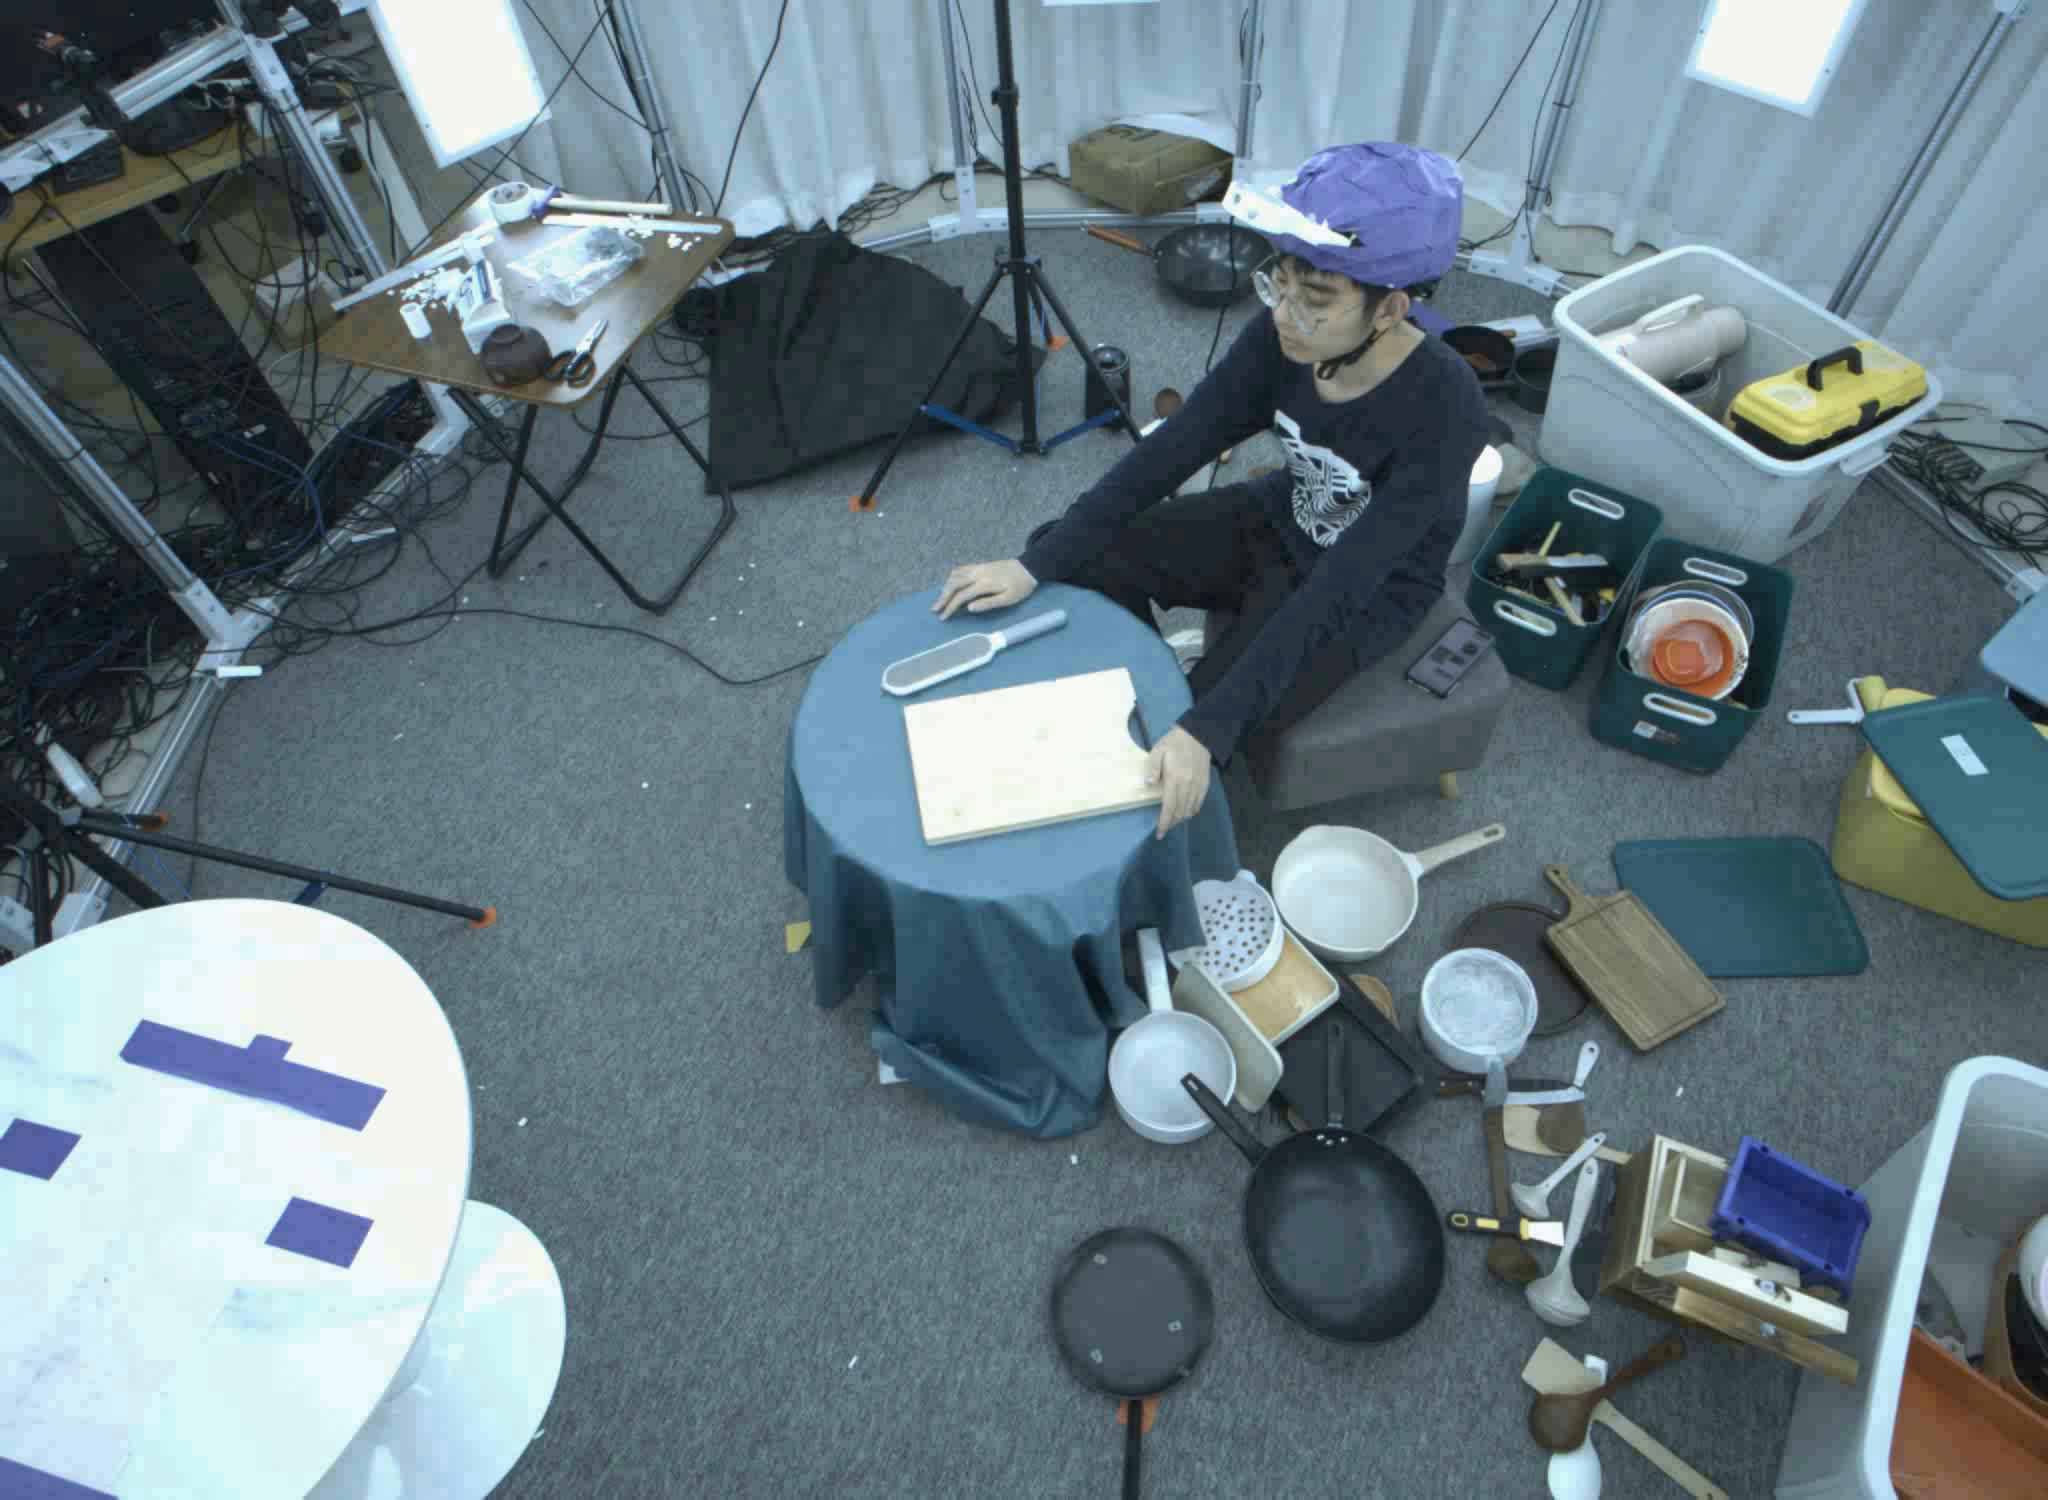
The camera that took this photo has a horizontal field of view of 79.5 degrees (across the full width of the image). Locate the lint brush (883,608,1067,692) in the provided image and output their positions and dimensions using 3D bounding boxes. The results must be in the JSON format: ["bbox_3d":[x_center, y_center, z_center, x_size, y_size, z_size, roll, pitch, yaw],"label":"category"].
[{"bbox_3d":[-0.073,-0.157,1.893,0.311,0.021,0.059,-22,51,-14],"label":"lint brush"}]

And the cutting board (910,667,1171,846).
[{"bbox_3d":[0.015,0.003,1.783,0.350,0.024,0.247,-11,55,-6],"label":"cutting board"}]
